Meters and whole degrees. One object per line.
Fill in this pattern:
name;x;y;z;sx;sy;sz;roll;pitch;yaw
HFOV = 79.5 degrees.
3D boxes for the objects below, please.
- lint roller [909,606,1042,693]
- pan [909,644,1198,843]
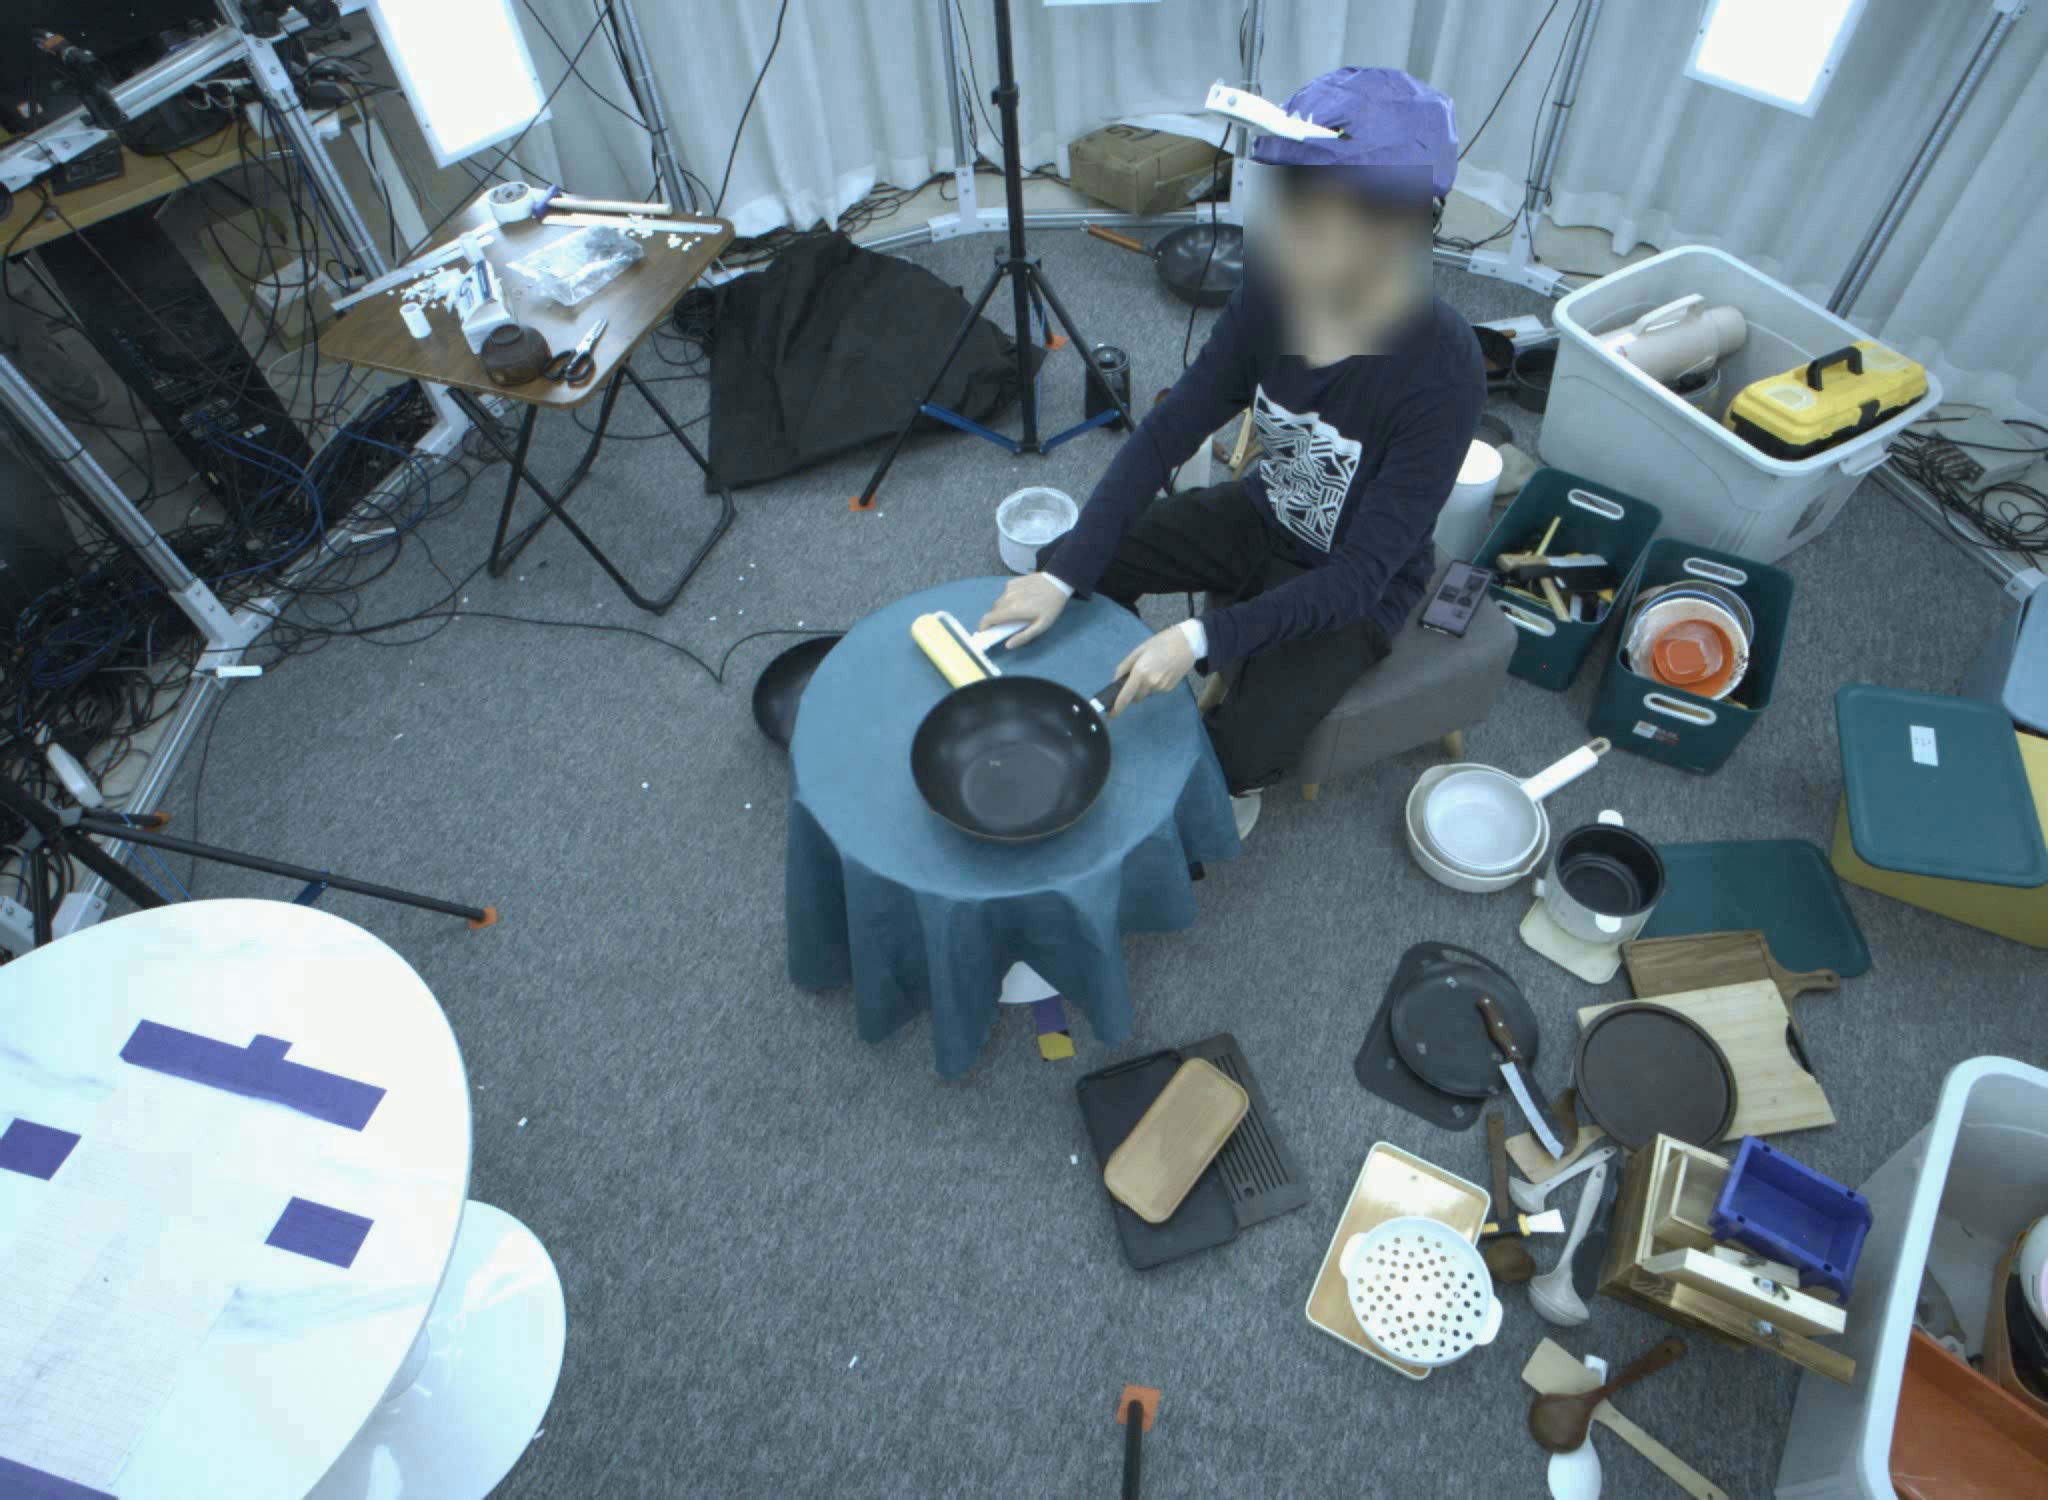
lint roller;-0.056;-0.179;1.887;0.193;0.052;0.171;-34;61;-14
pan;0.057;-0.021;1.758;0.467;0.088;0.283;-31;60;-20
